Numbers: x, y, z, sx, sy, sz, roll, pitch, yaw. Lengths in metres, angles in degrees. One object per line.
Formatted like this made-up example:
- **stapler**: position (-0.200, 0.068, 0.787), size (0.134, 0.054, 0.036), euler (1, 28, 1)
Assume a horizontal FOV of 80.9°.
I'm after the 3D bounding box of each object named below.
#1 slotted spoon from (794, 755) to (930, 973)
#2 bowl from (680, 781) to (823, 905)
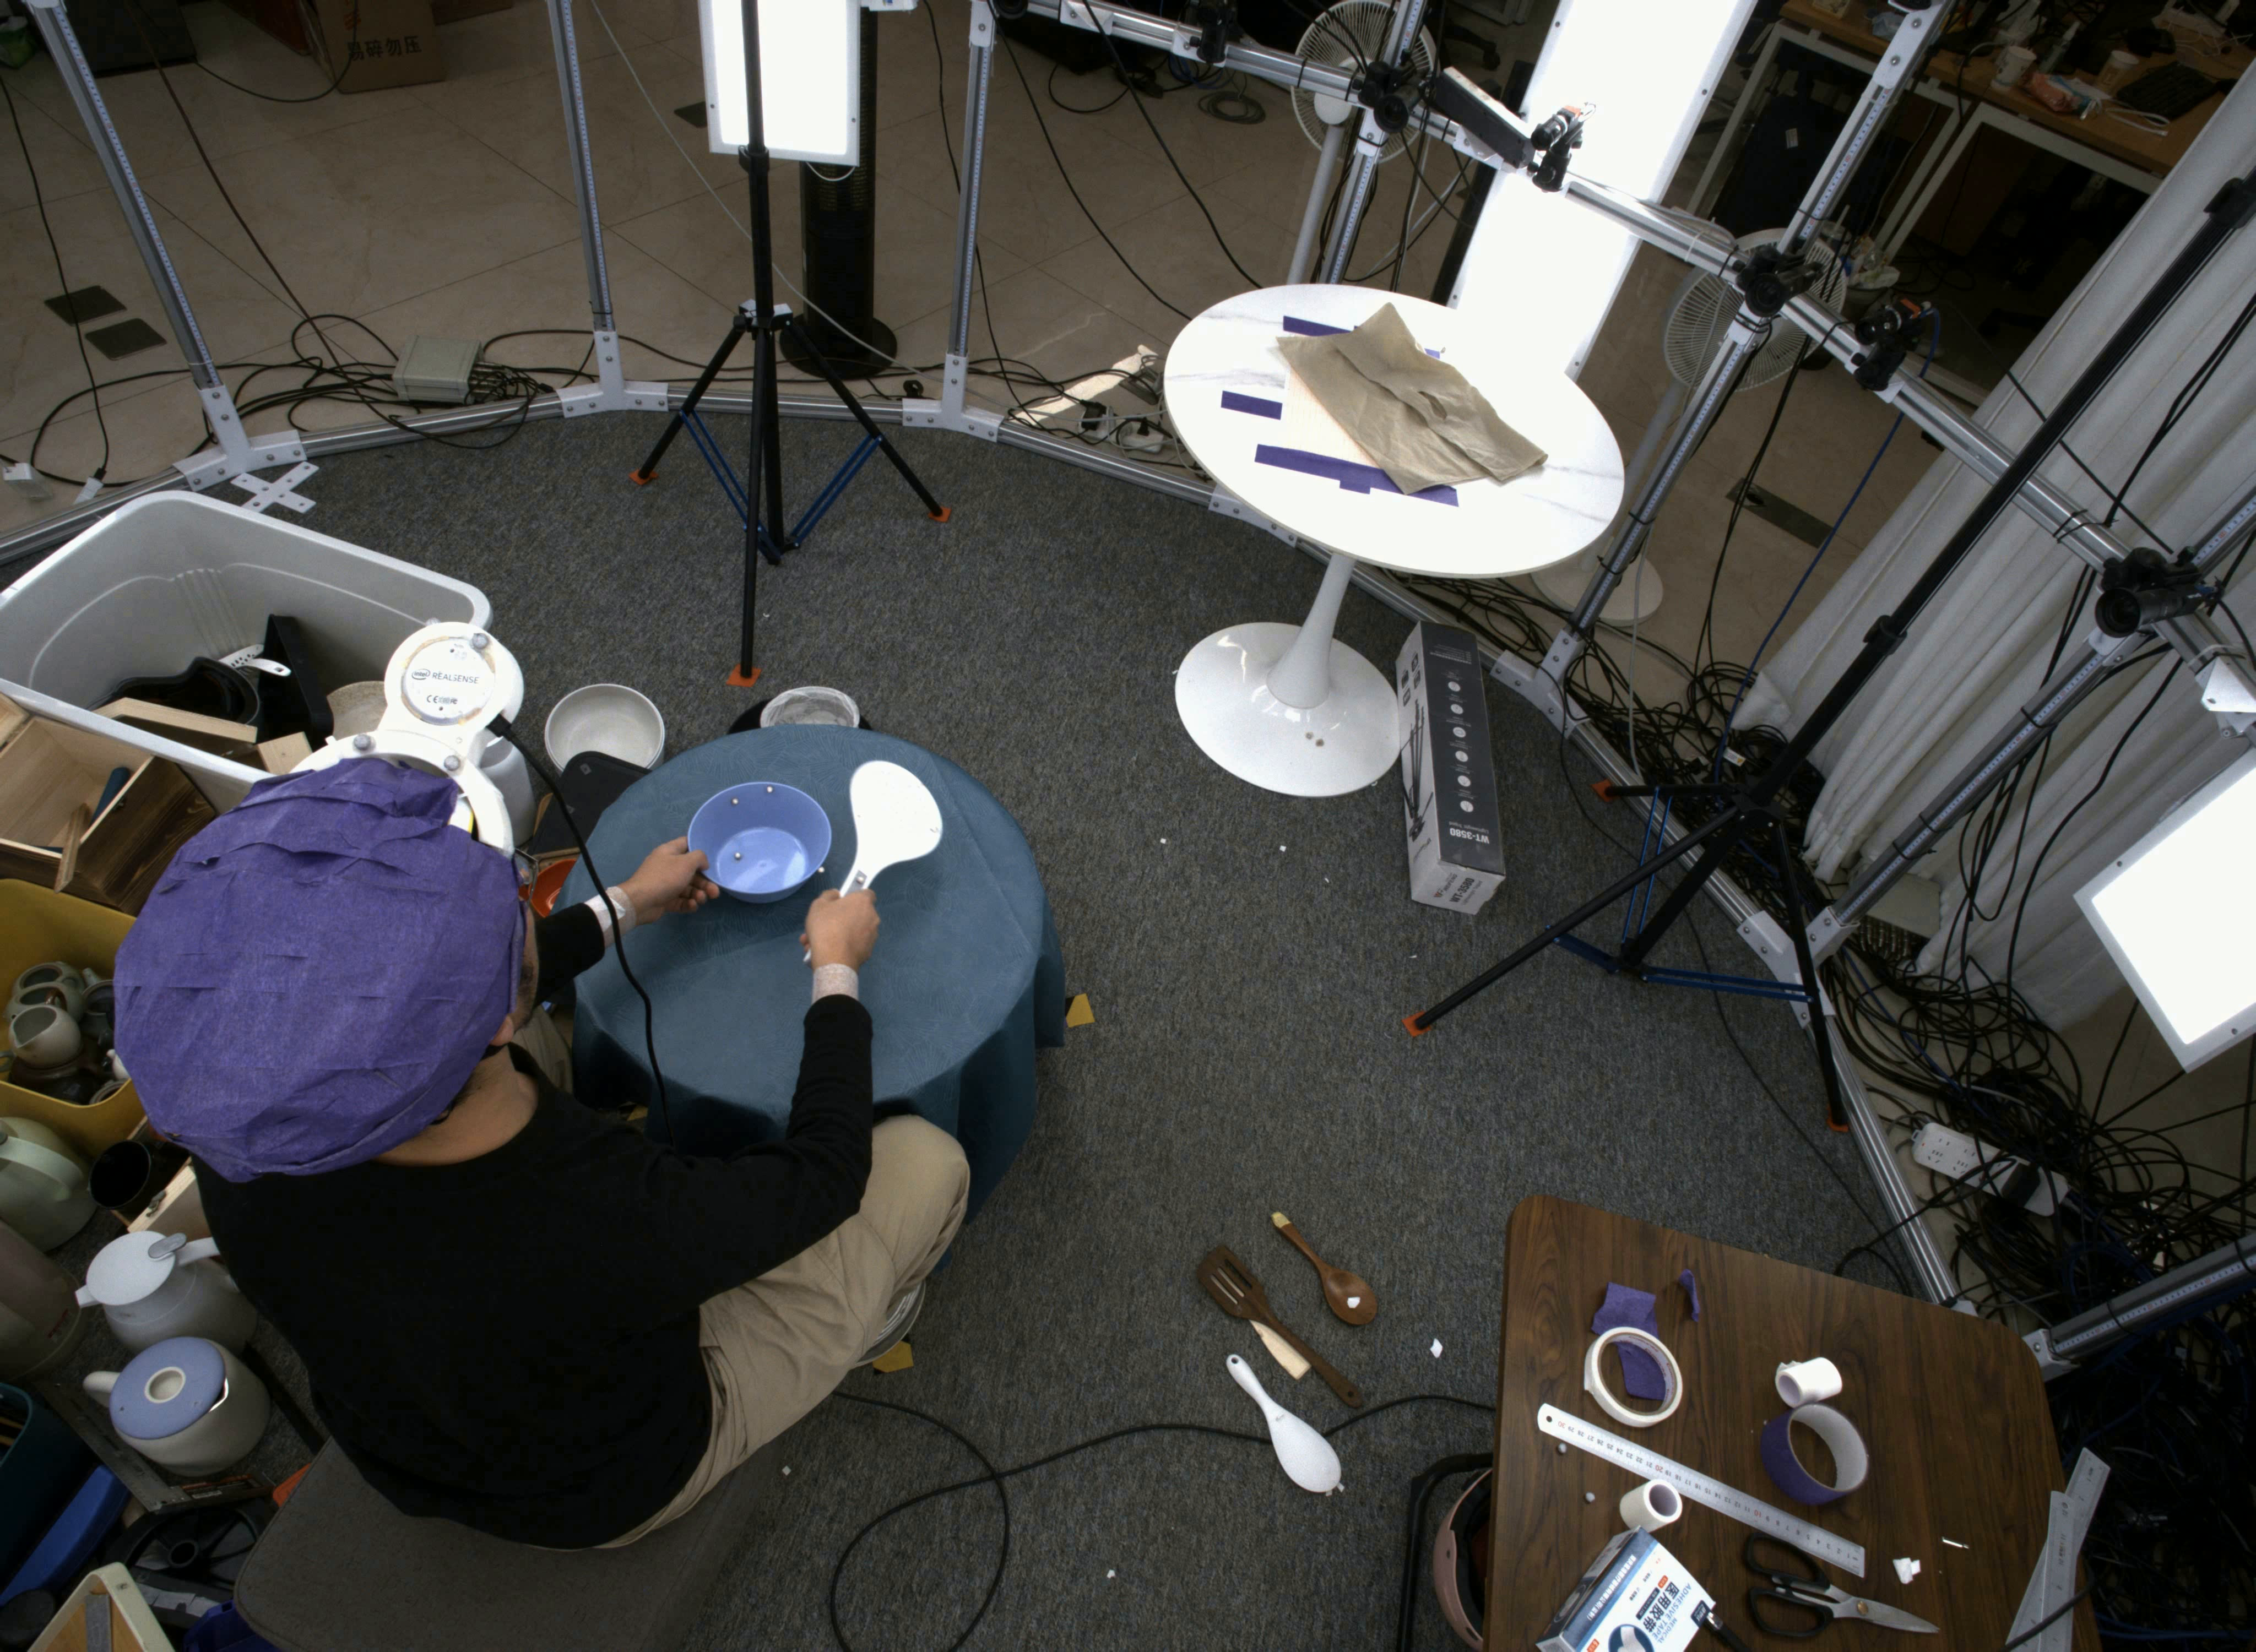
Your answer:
- **slotted spoon**: position (-0.327, 0.042, 1.559), size (0.139, 0.045, 0.343), euler (42, 32, -23)
- **bowl**: position (-0.473, 0.031, 1.636), size (0.175, 0.072, 0.173), euler (7, 53, -8)
